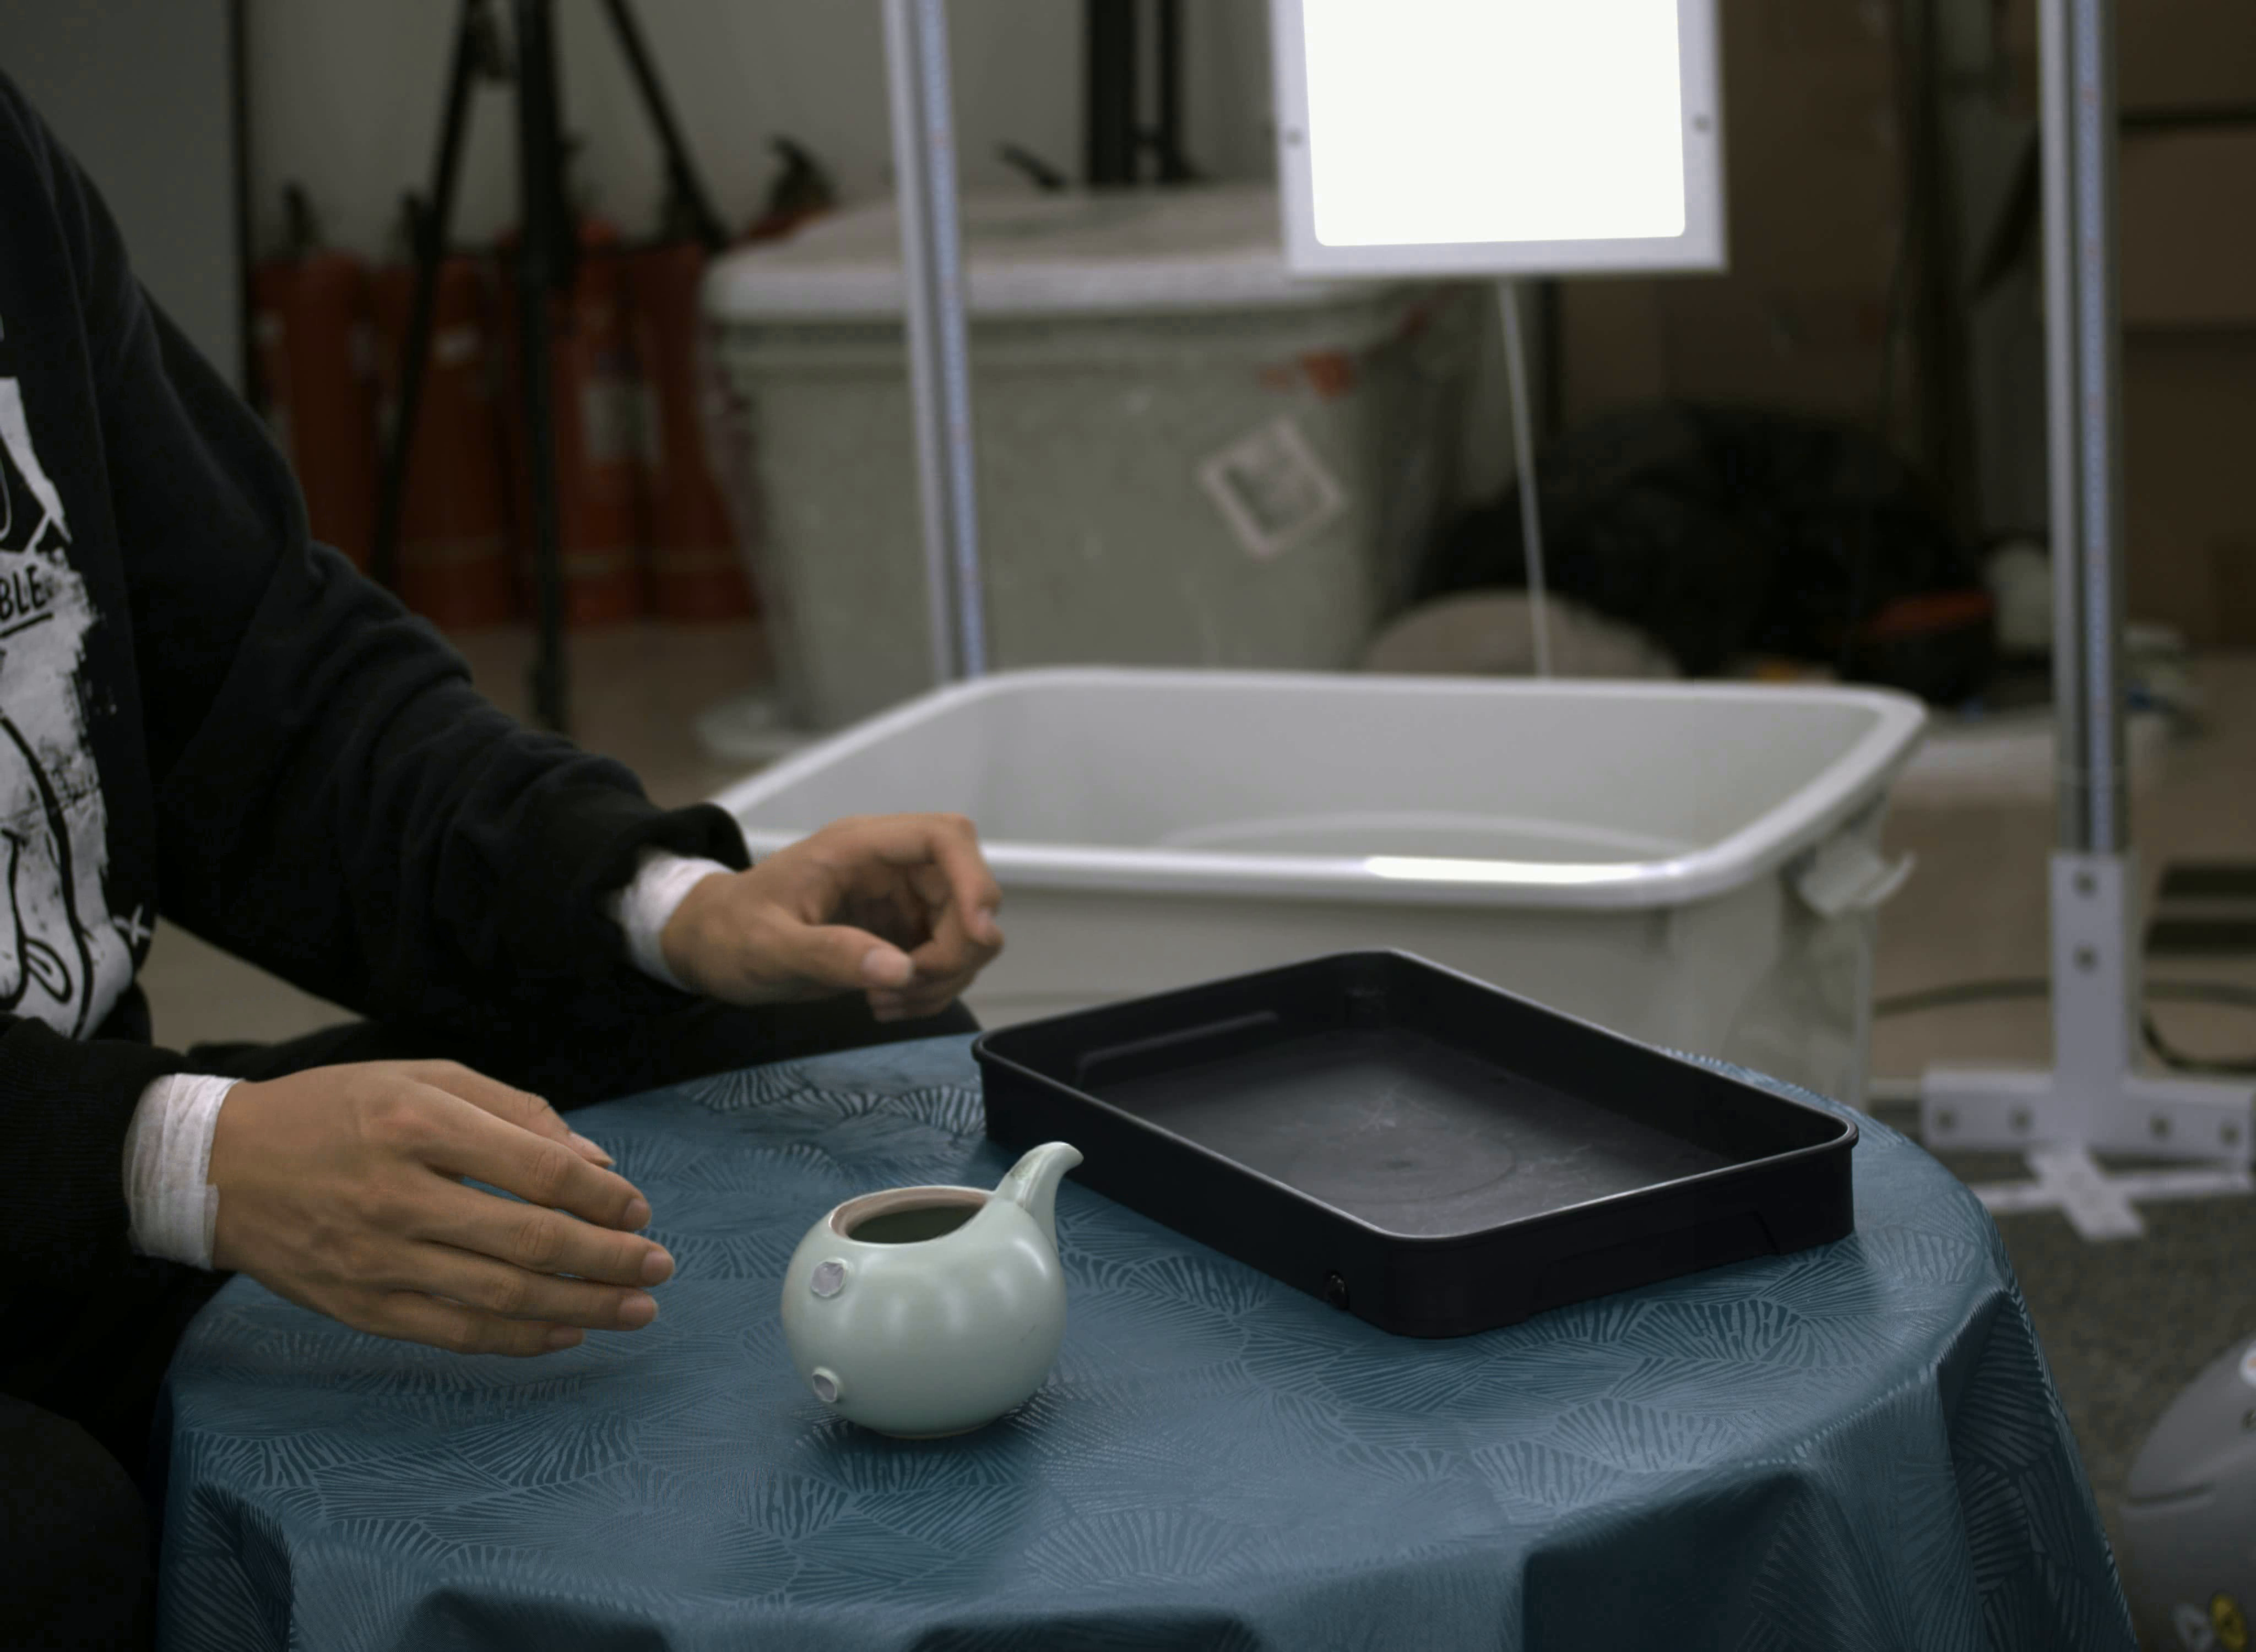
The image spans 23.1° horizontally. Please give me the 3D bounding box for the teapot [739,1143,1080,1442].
[{"bbox_3d":[-0.064,0.147,1.687,0.140,0.075,0.090,-15,17,-42],"label":"teapot"}]

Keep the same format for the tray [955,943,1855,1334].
[{"bbox_3d":[0.090,0.102,1.889,0.180,0.037,0.324,-13,16,-28],"label":"tray"}]
